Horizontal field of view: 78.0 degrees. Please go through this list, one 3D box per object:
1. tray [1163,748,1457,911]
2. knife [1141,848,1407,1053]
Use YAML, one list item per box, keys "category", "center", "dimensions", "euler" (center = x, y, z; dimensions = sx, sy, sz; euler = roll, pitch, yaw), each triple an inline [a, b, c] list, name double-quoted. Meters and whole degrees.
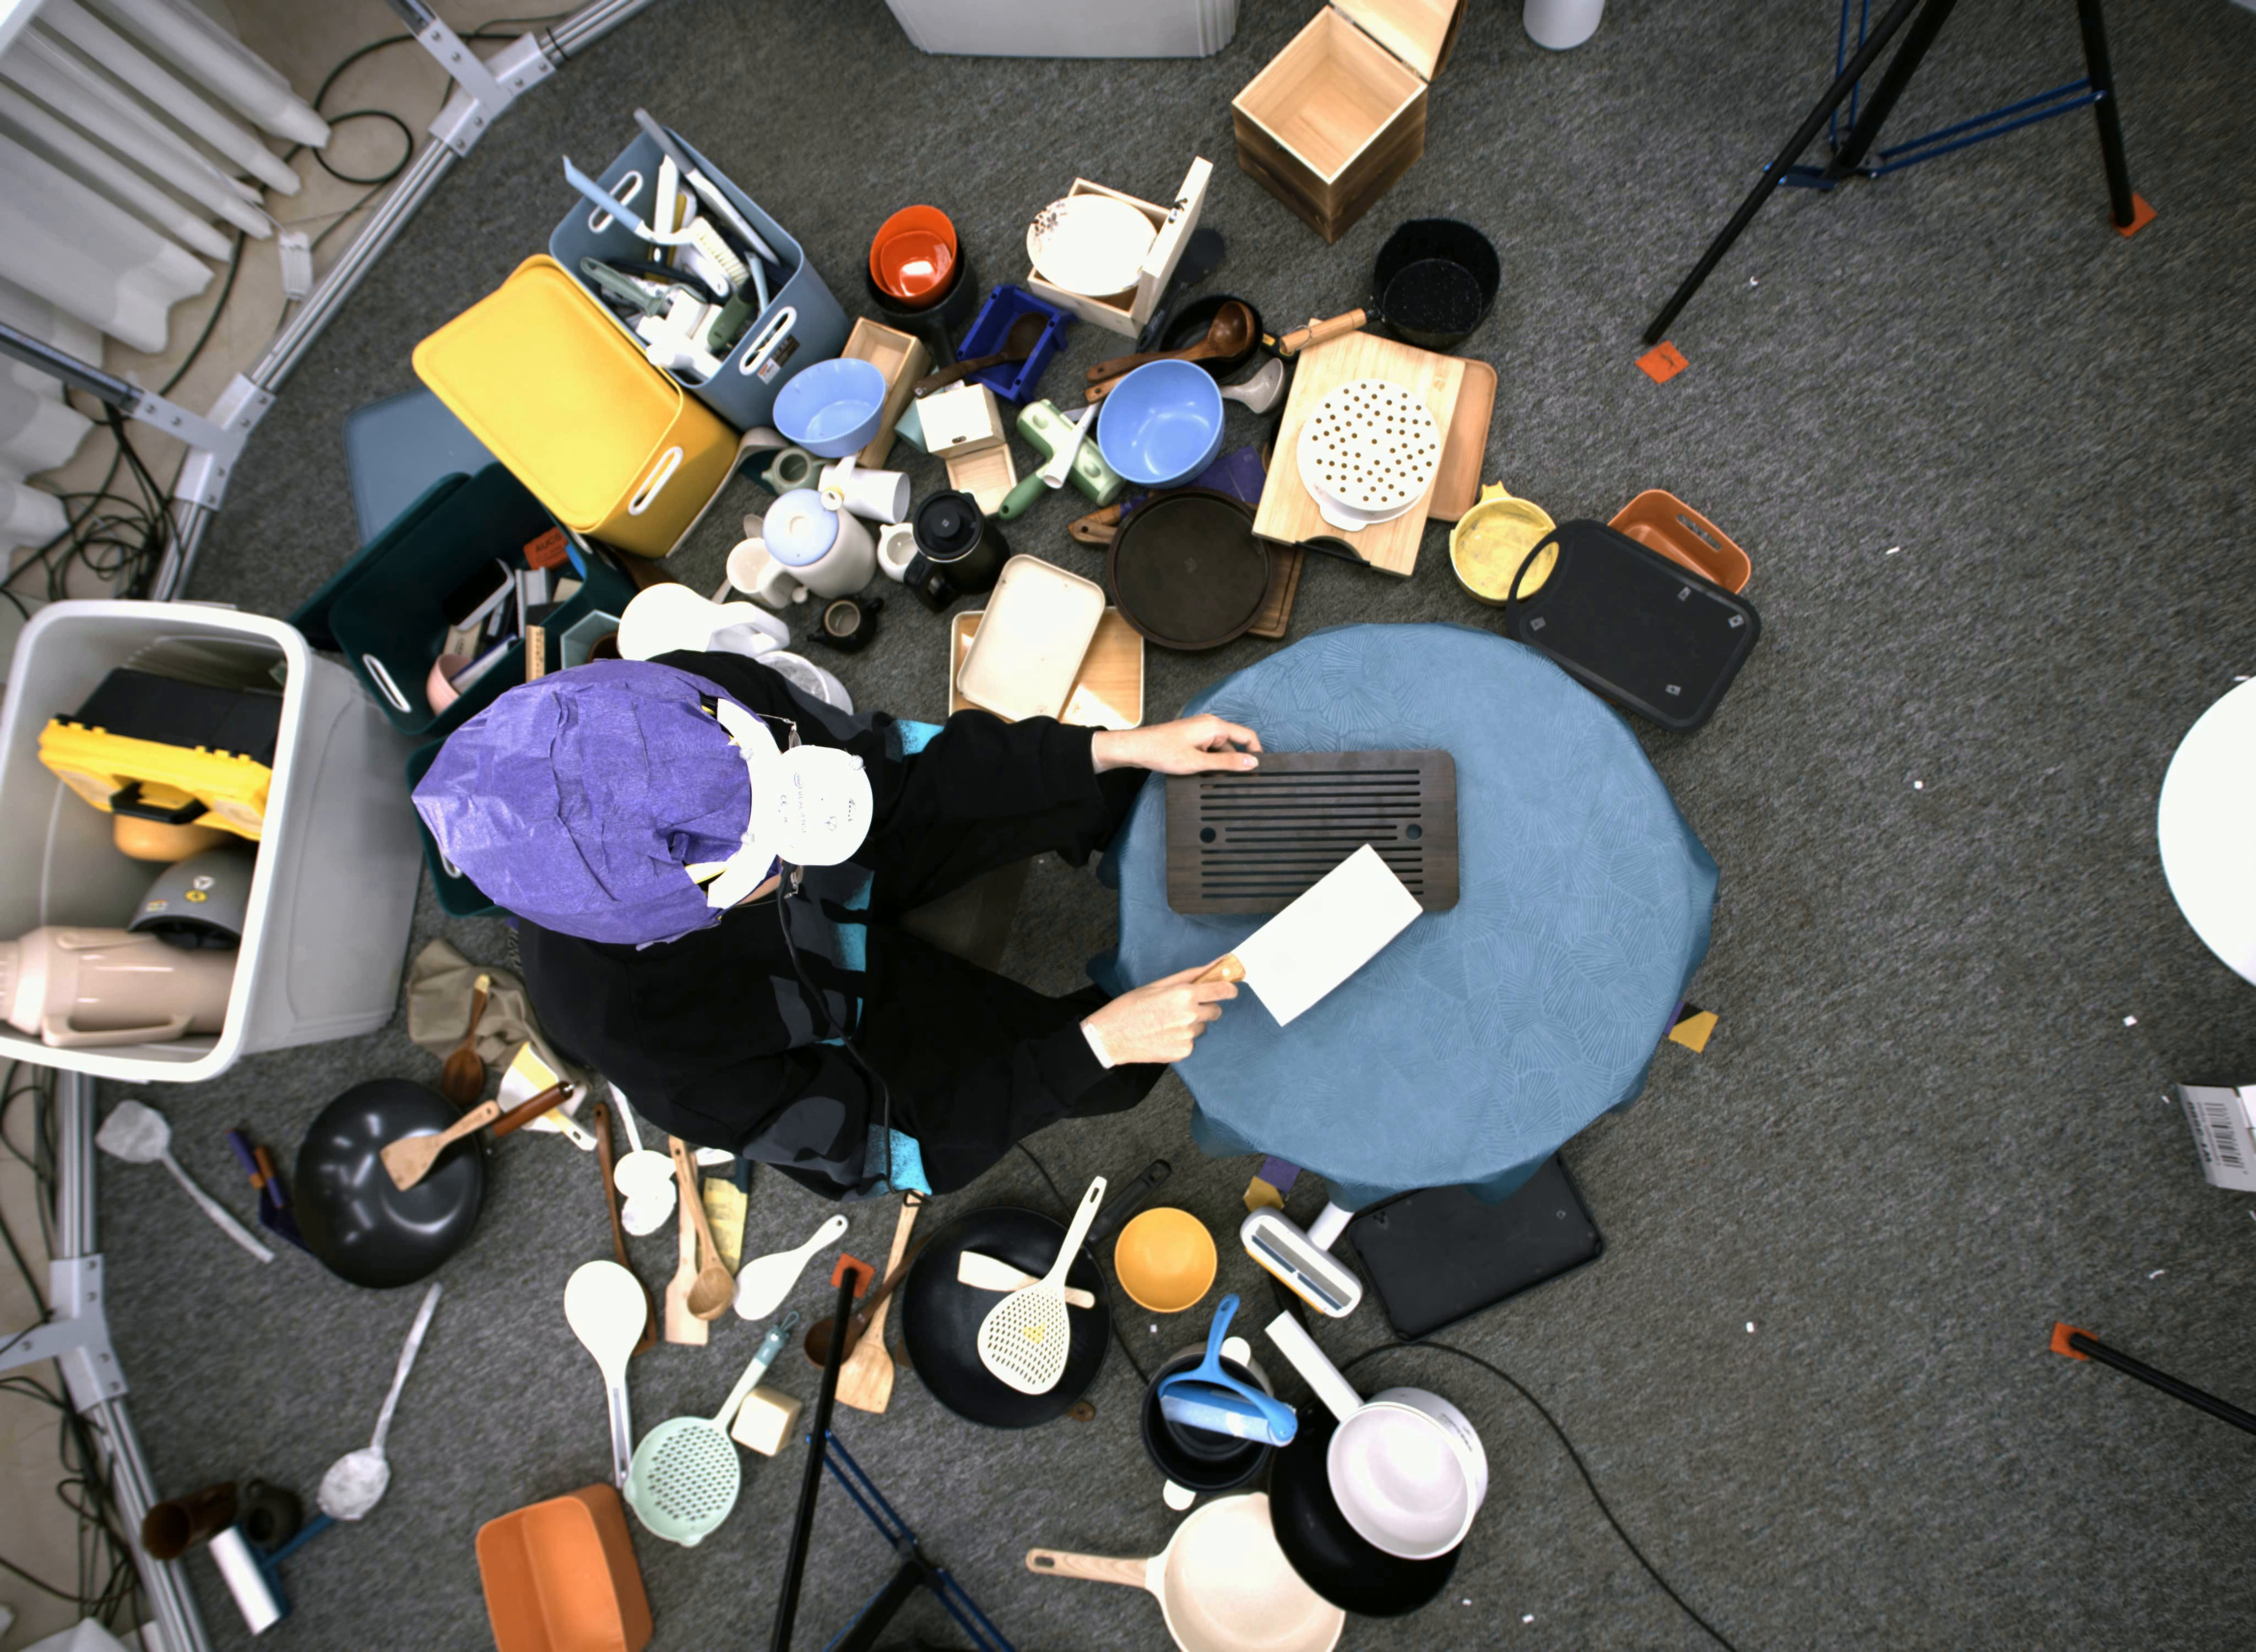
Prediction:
- category: "tray"
  center: [0.190, 0.003, 1.450]
  dimensions: [0.306, 0.018, 0.169]
  euler: [-1, 88, 3]
- category: "knife"
  center: [0.154, 0.142, 1.396]
  dimensions: [0.304, 0.021, 0.092]
  euler: [-37, 82, -8]
